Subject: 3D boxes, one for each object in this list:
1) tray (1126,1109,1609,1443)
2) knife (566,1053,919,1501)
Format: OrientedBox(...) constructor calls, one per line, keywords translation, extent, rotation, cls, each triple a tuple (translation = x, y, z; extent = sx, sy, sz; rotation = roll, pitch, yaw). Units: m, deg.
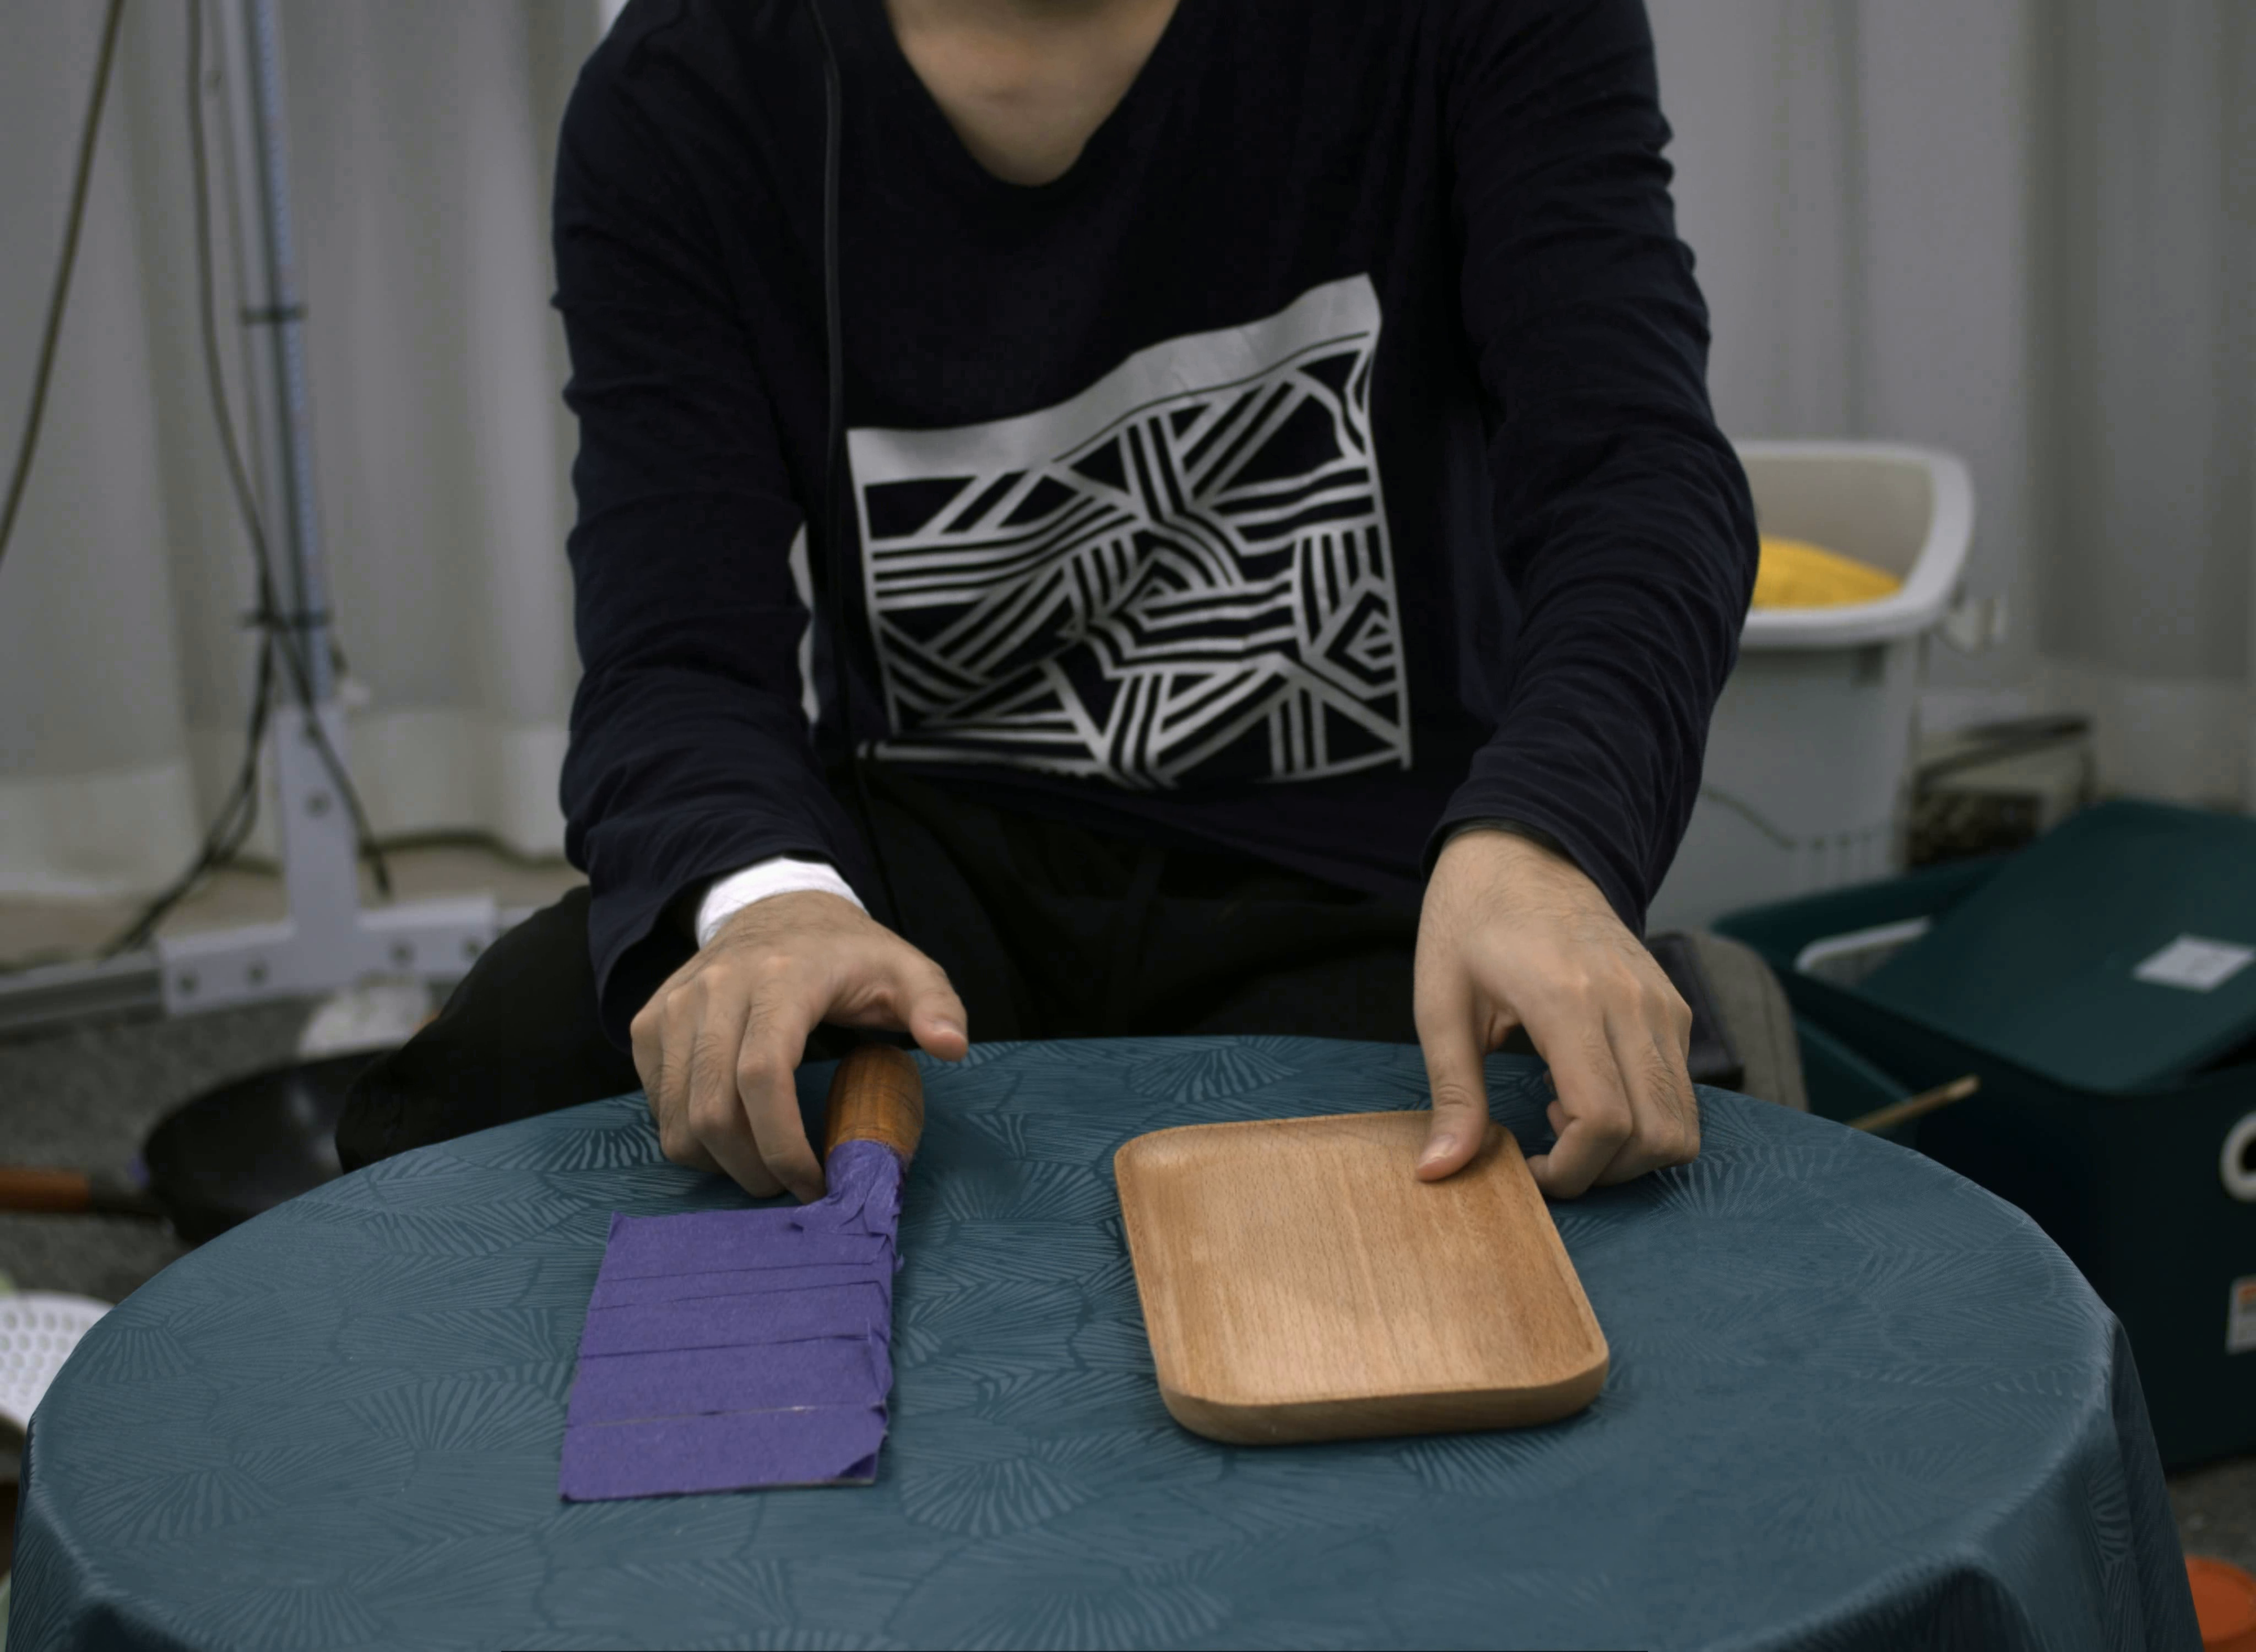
OrientedBox(translation=(0.067, 0.130, 1.615), extent=(0.130, 0.023, 0.252), rotation=(-1, 14, -1), cls="tray")
OrientedBox(translation=(-0.112, 0.130, 1.629), extent=(0.103, 0.032, 0.317), rotation=(-3, 15, -1), cls="knife")
